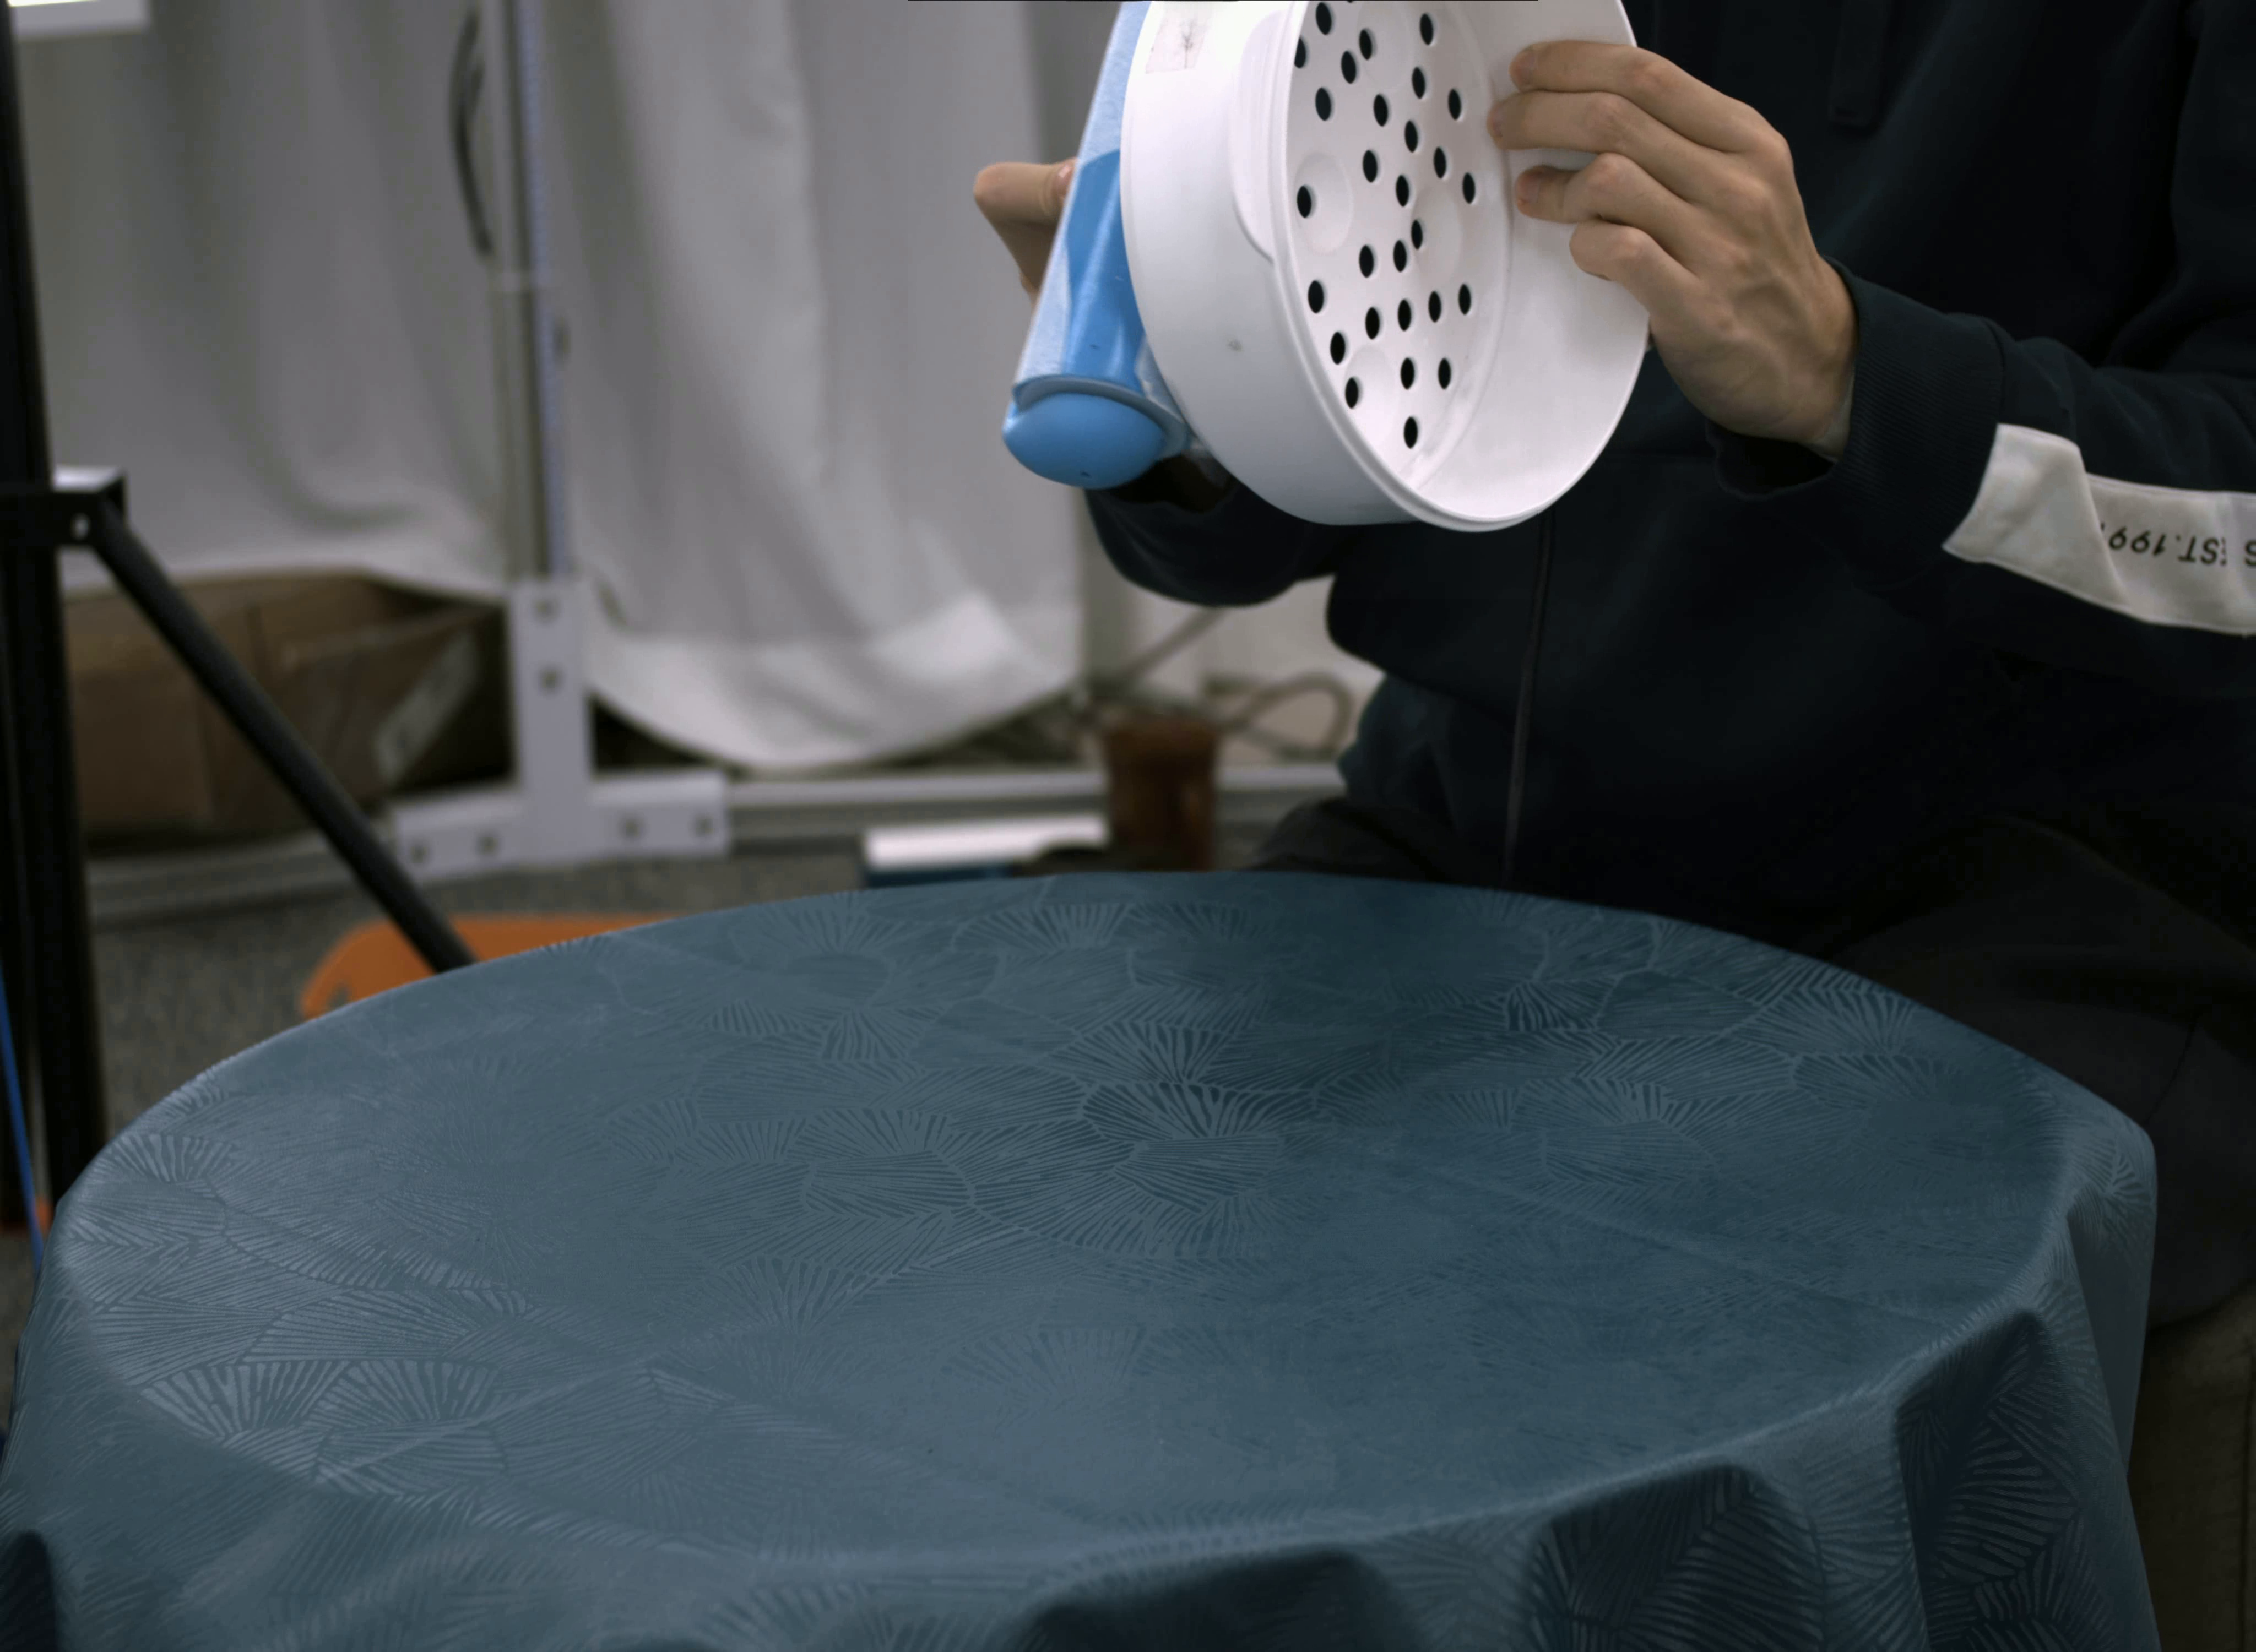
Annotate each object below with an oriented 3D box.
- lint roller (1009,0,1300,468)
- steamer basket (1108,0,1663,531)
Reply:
[{"bbox_3d":[0.017,-0.185,1.632,0.068,0.230,0.179,10,-25,7],"label":"lint roller"},{"bbox_3d":[0.074,-0.187,1.562,0.070,0.203,0.224,1,-4,38],"label":"steamer basket"}]
